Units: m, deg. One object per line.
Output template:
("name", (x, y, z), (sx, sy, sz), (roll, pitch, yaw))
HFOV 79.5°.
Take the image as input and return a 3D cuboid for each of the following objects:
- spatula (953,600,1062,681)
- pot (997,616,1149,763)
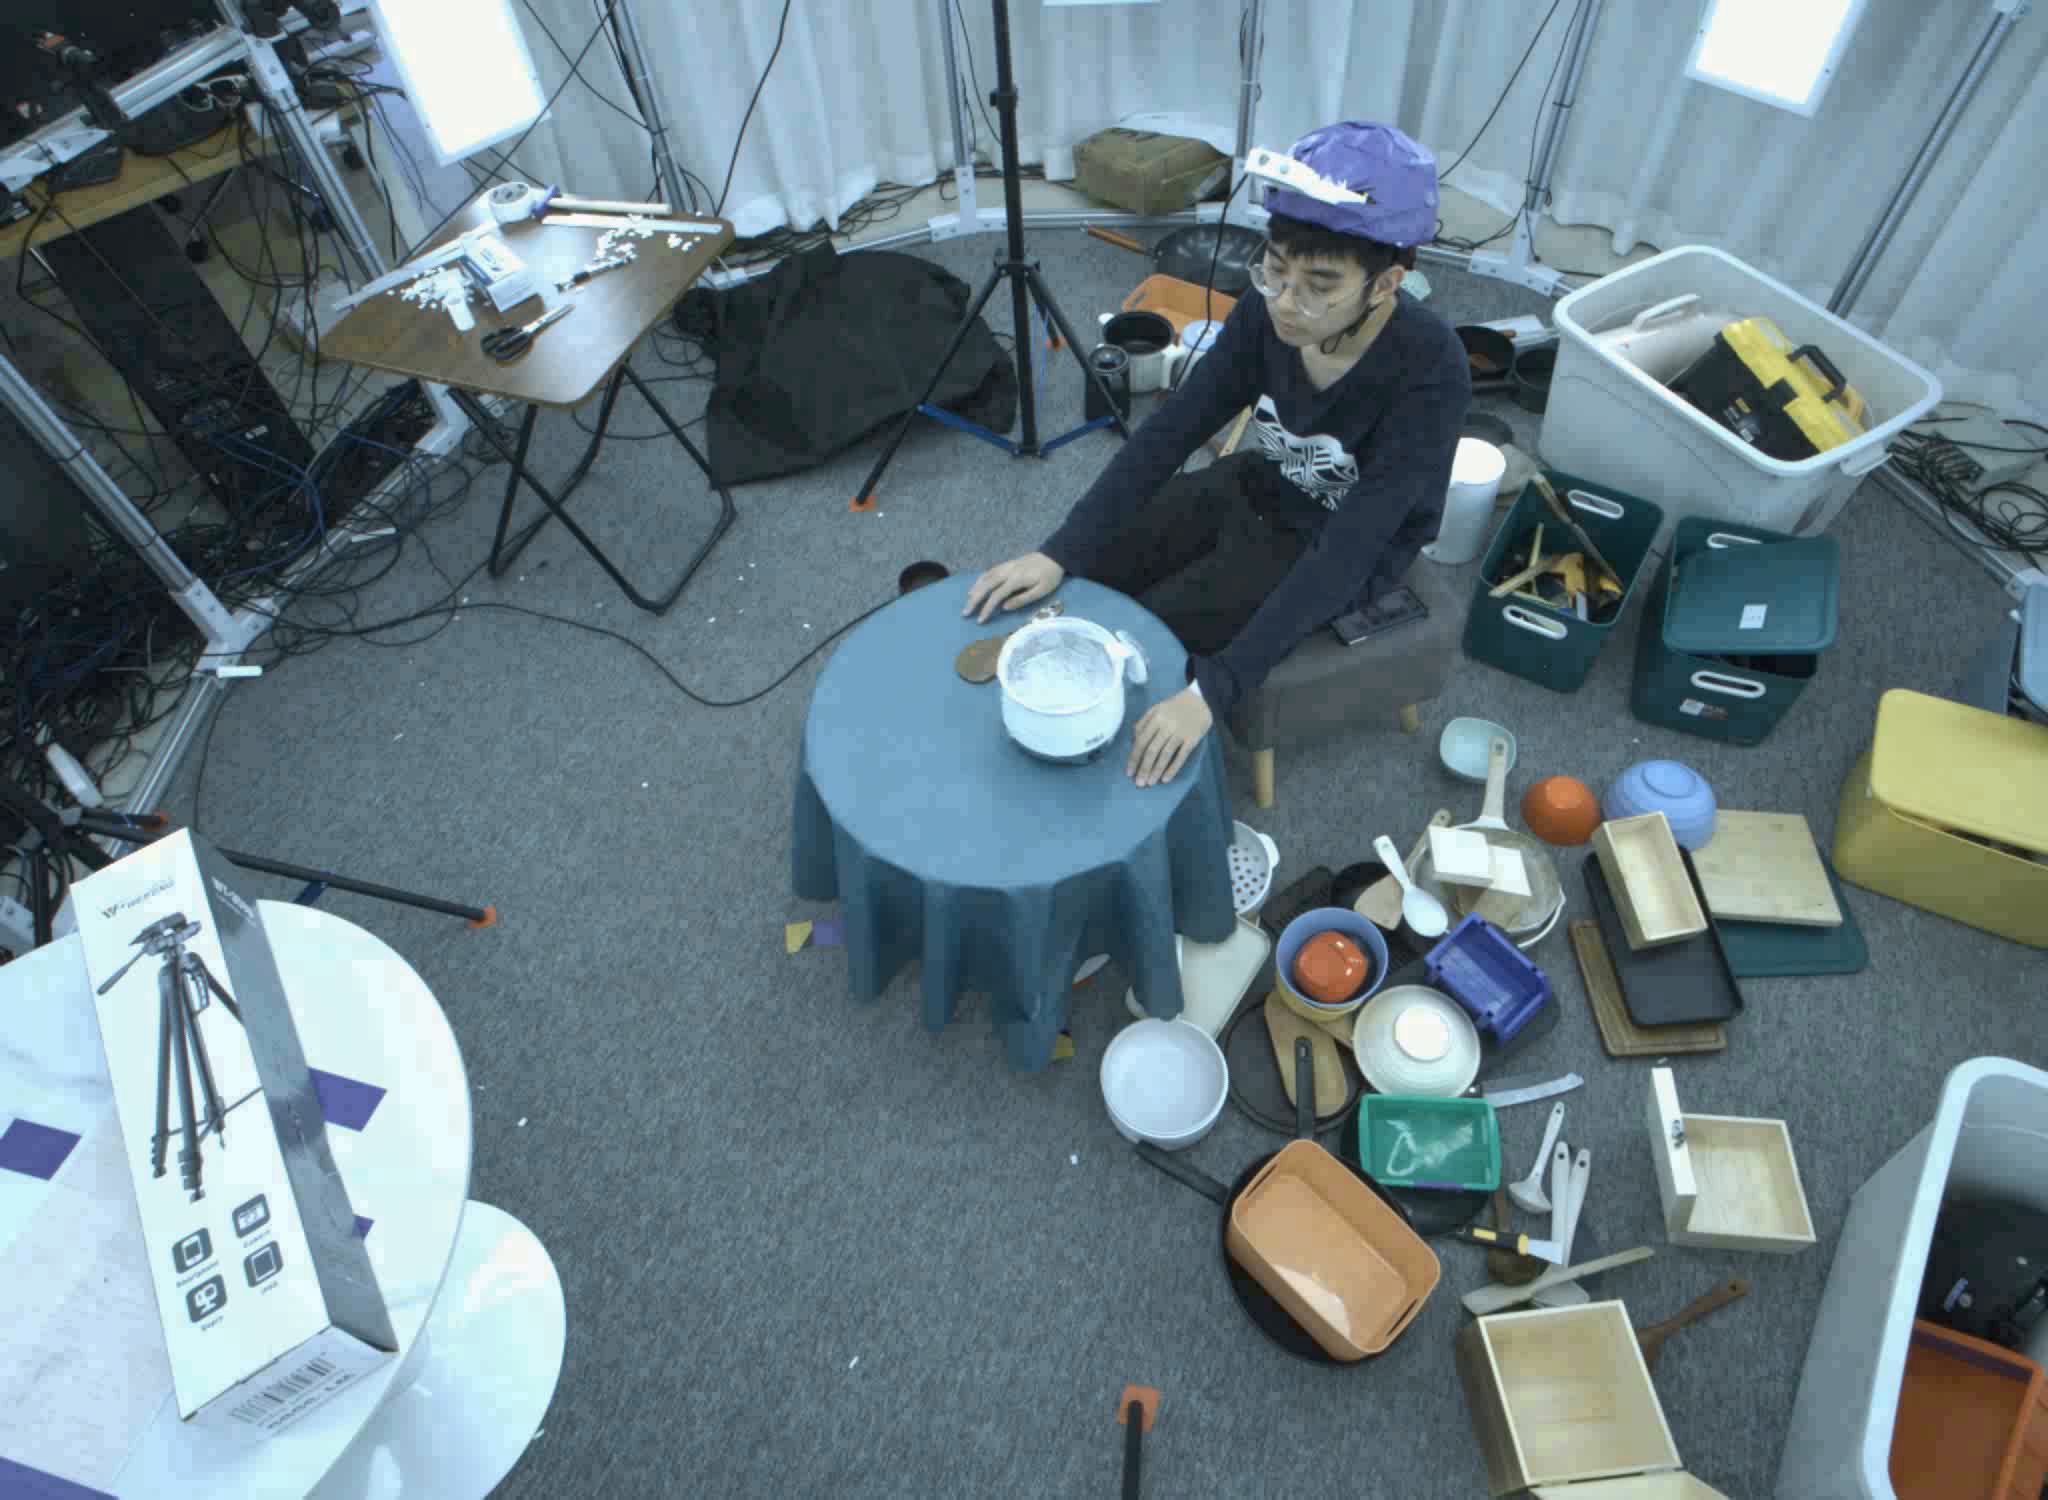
("spatula", (-0.018, -0.173, 1.917), (0.217, 0.009, 0.070), (-37, 63, -24))
("pot", (0.078, -0.096, 1.776), (0.235, 0.138, 0.175), (-29, 61, -16))
